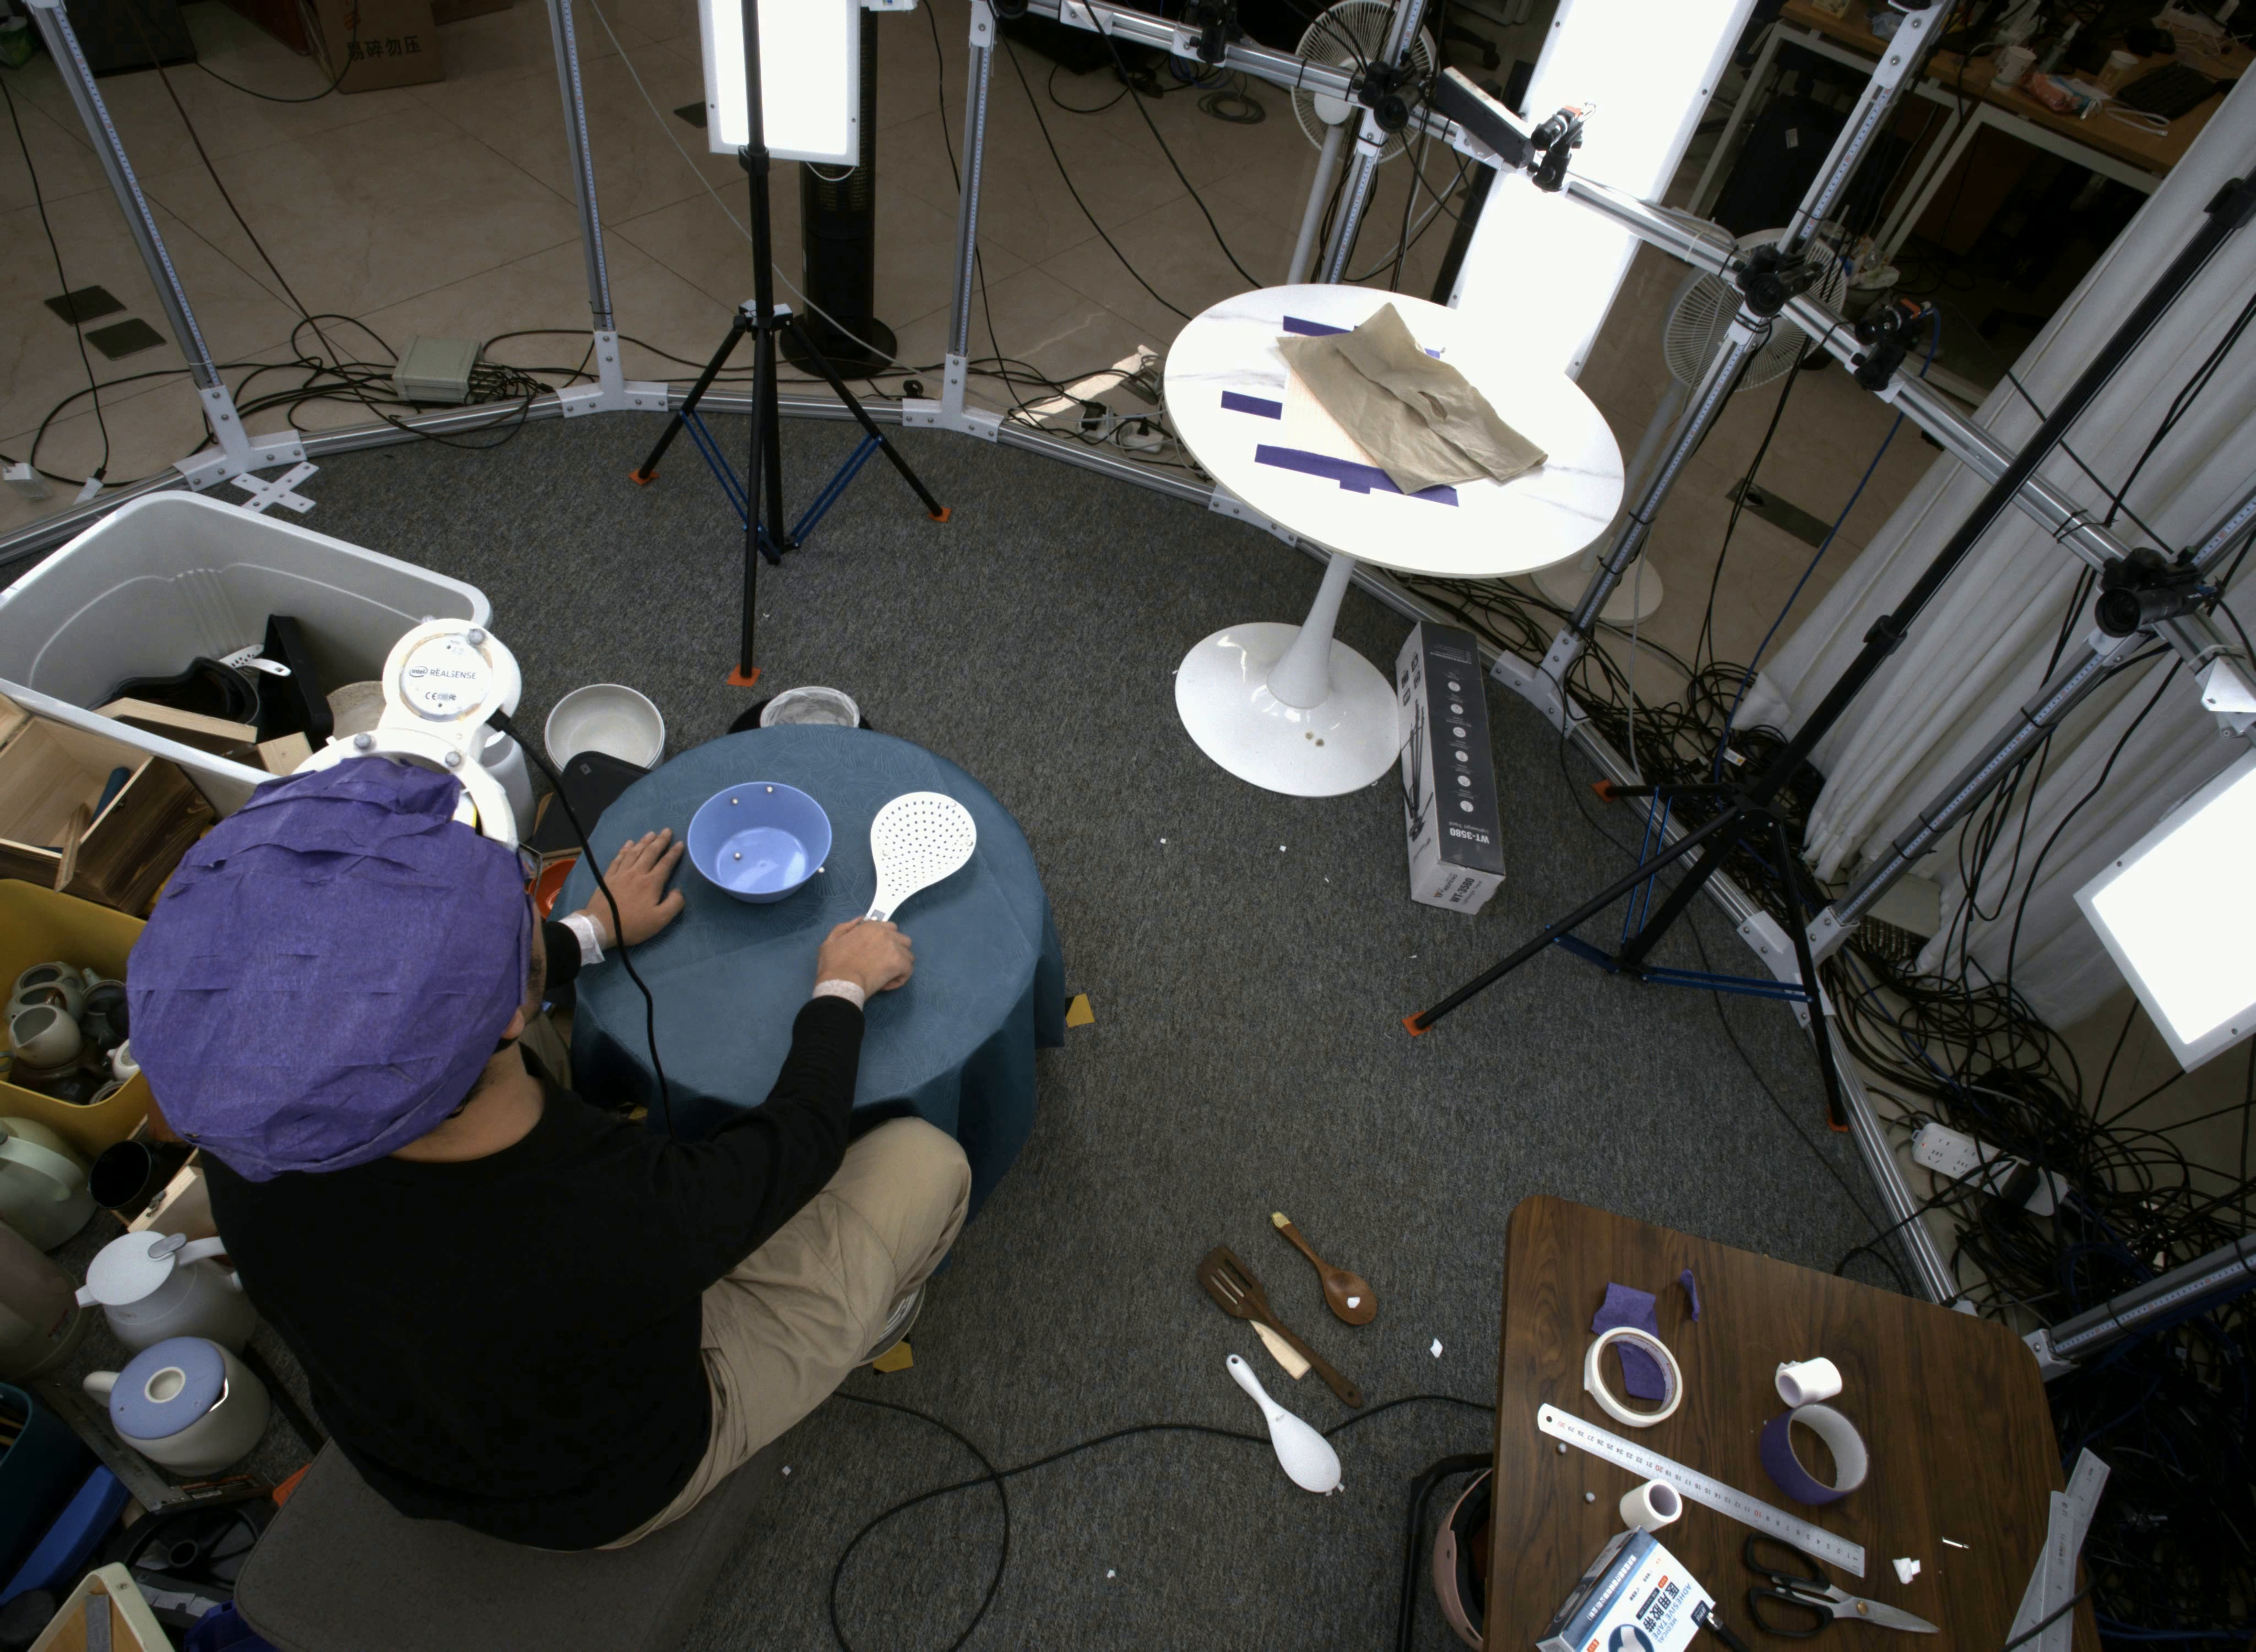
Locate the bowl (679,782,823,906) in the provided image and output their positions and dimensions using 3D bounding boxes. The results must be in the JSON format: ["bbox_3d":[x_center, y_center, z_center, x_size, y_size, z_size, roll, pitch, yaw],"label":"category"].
[{"bbox_3d":[-0.474,0.032,1.636,0.176,0.071,0.173,7,53,-8],"label":"bowl"}]

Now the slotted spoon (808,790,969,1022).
[{"bbox_3d":[-0.313,0.095,1.647,0.135,0.046,0.347,23,53,2],"label":"slotted spoon"}]
